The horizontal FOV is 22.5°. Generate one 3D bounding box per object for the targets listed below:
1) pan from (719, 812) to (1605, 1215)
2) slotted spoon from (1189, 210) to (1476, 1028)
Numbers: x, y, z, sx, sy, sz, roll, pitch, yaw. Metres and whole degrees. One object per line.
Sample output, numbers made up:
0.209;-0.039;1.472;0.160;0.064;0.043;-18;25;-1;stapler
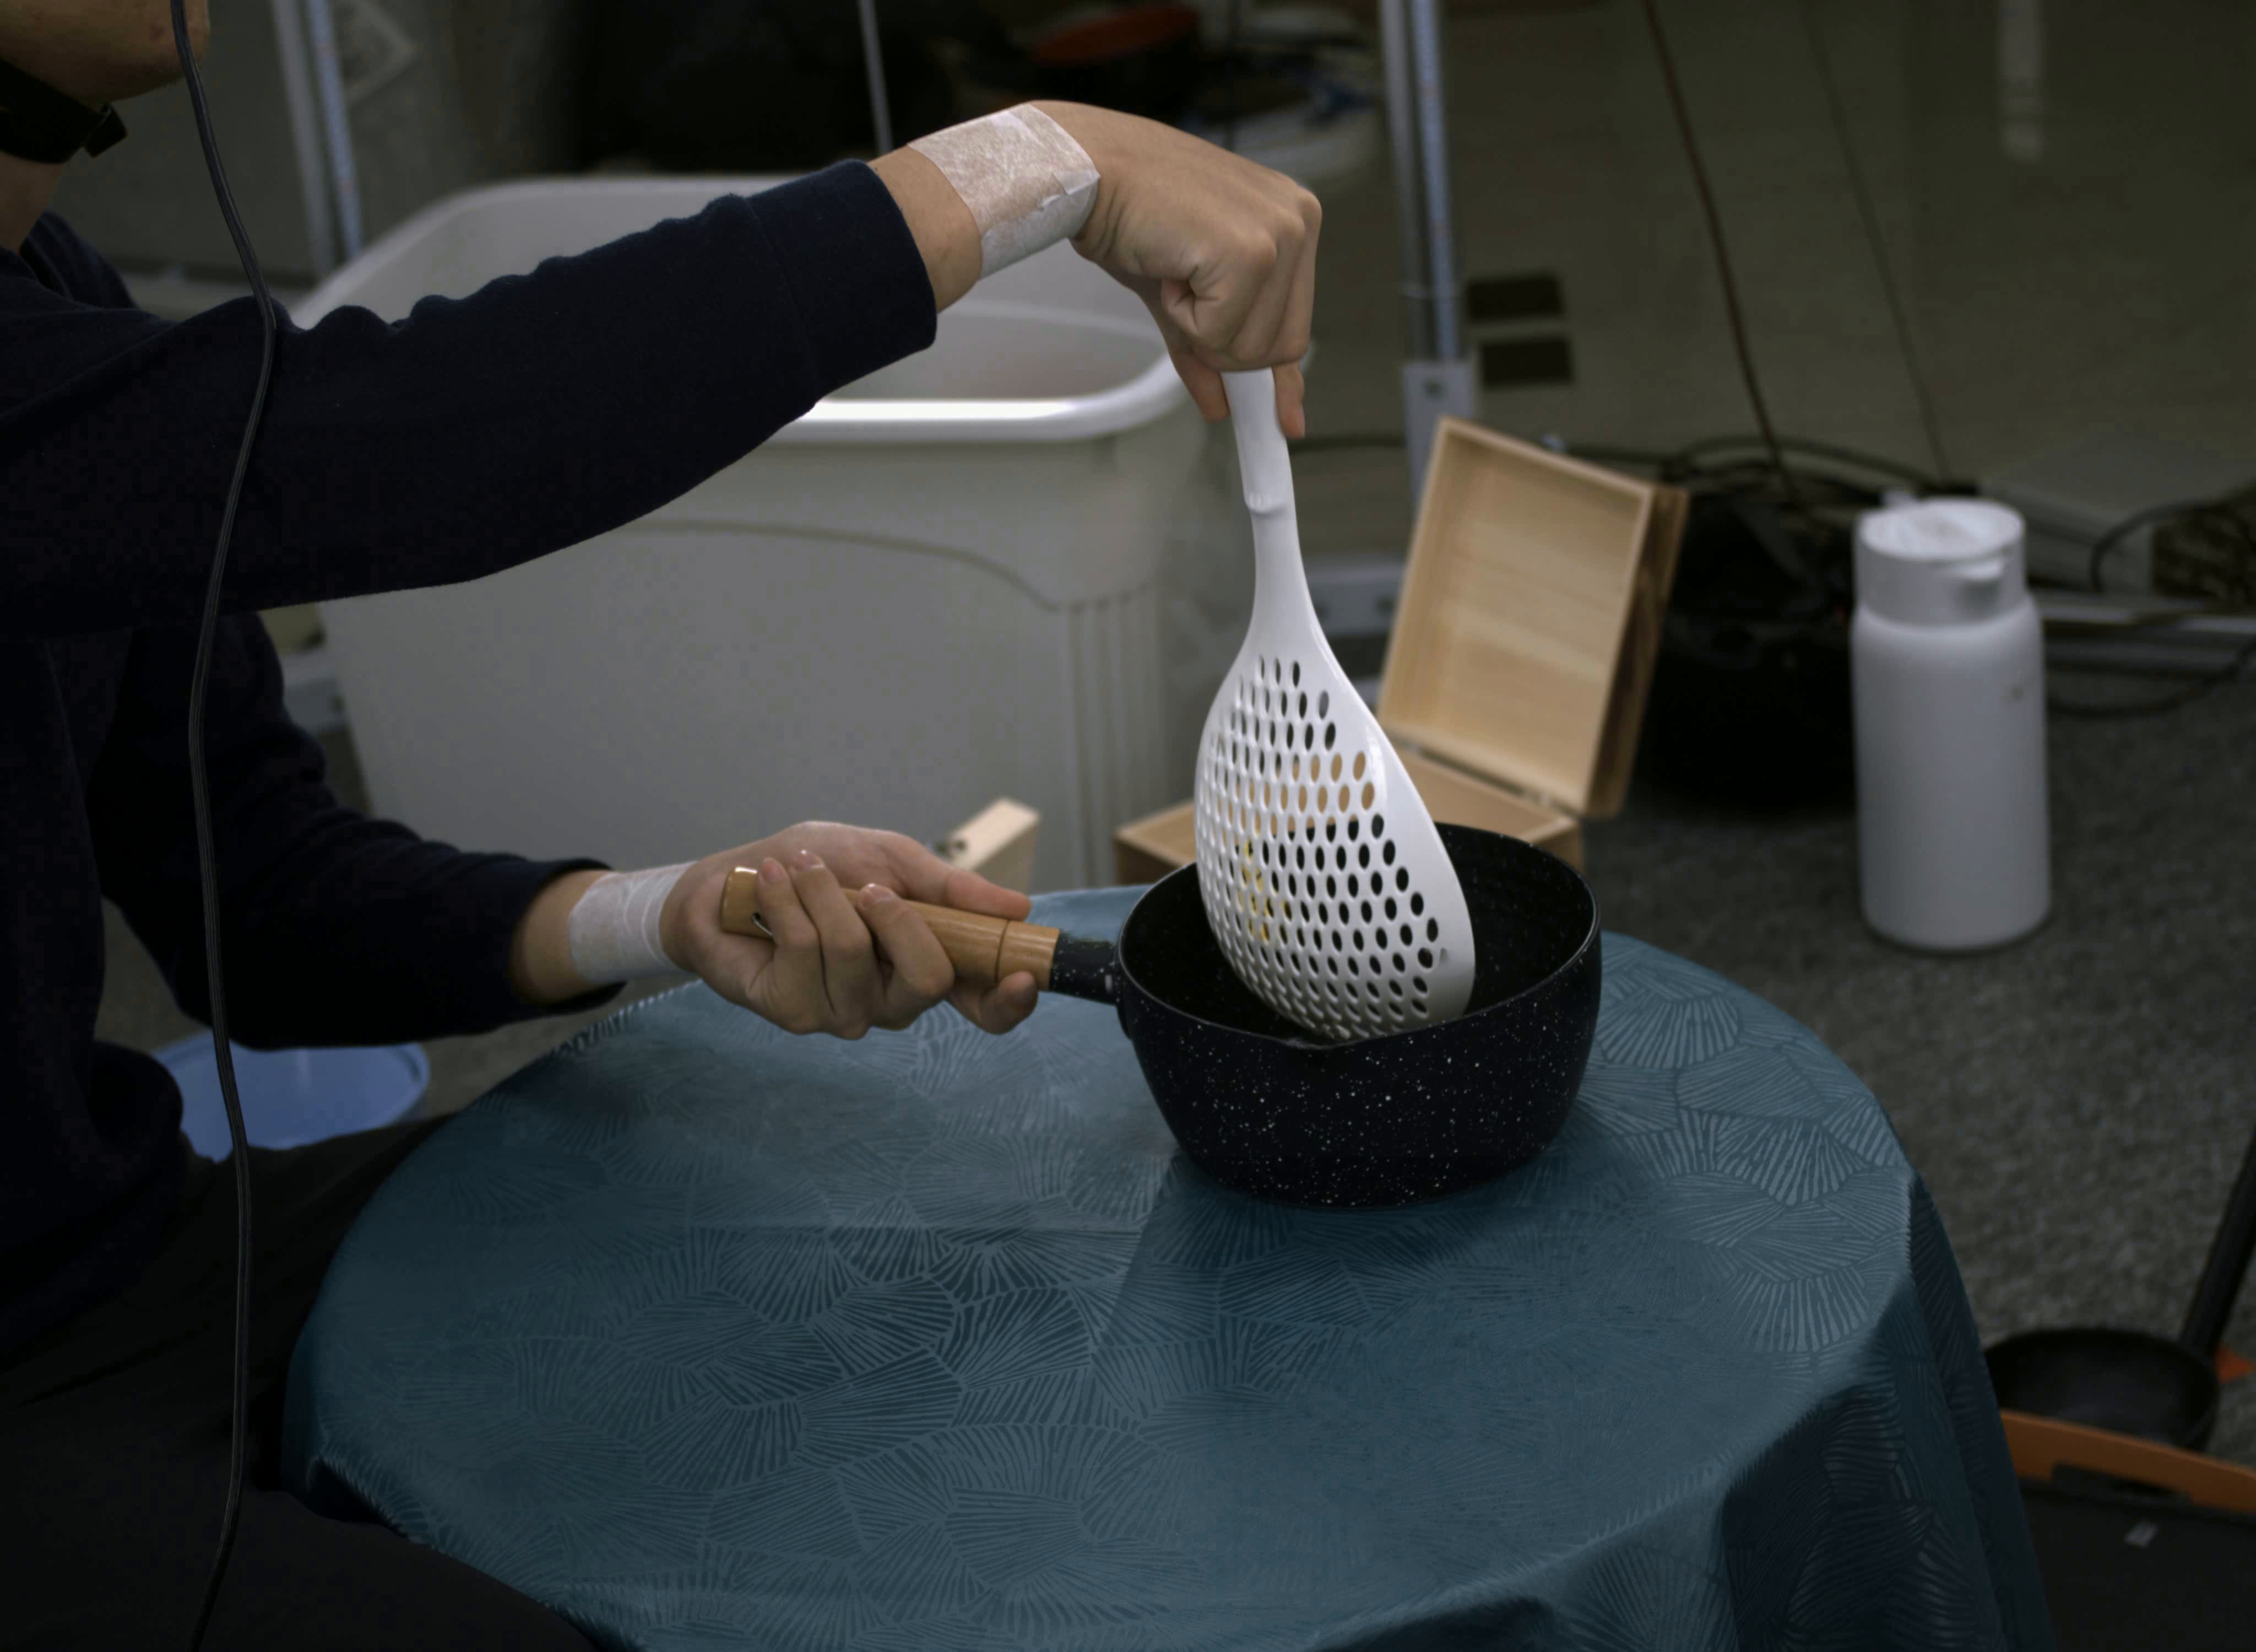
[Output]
0.012;0.066;2.170;0.342;0.110;0.204;0;27;10;pan
0.055;-0.070;2.102;0.136;0.353;0.050;16;33;38;slotted spoon
